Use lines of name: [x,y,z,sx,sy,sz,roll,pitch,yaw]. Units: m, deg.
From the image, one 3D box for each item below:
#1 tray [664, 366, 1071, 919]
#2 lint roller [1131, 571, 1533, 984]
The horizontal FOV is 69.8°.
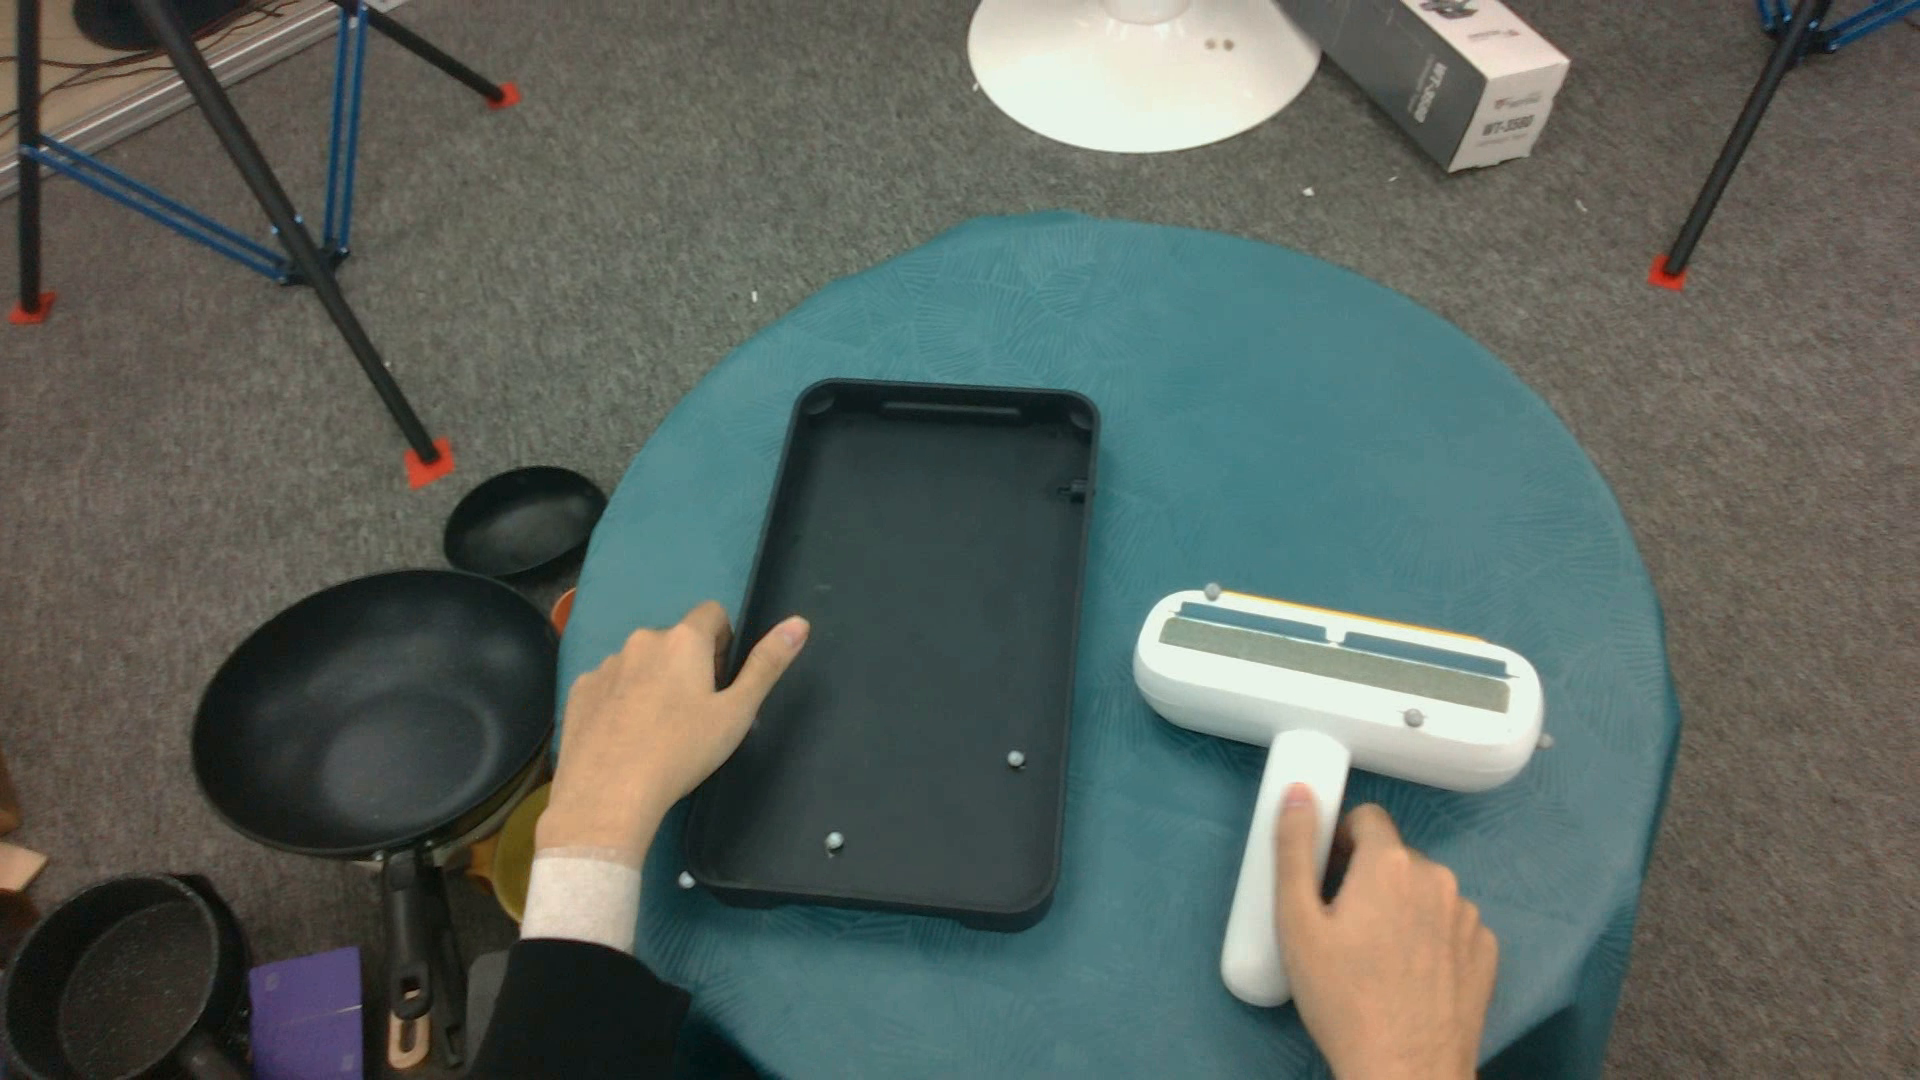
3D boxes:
tray: [-0.038,0.040,0.737,0.184,0.037,0.319,3,56,4]
lint roller: [0.156,0.114,0.658,0.192,0.074,0.193,16,59,20]
